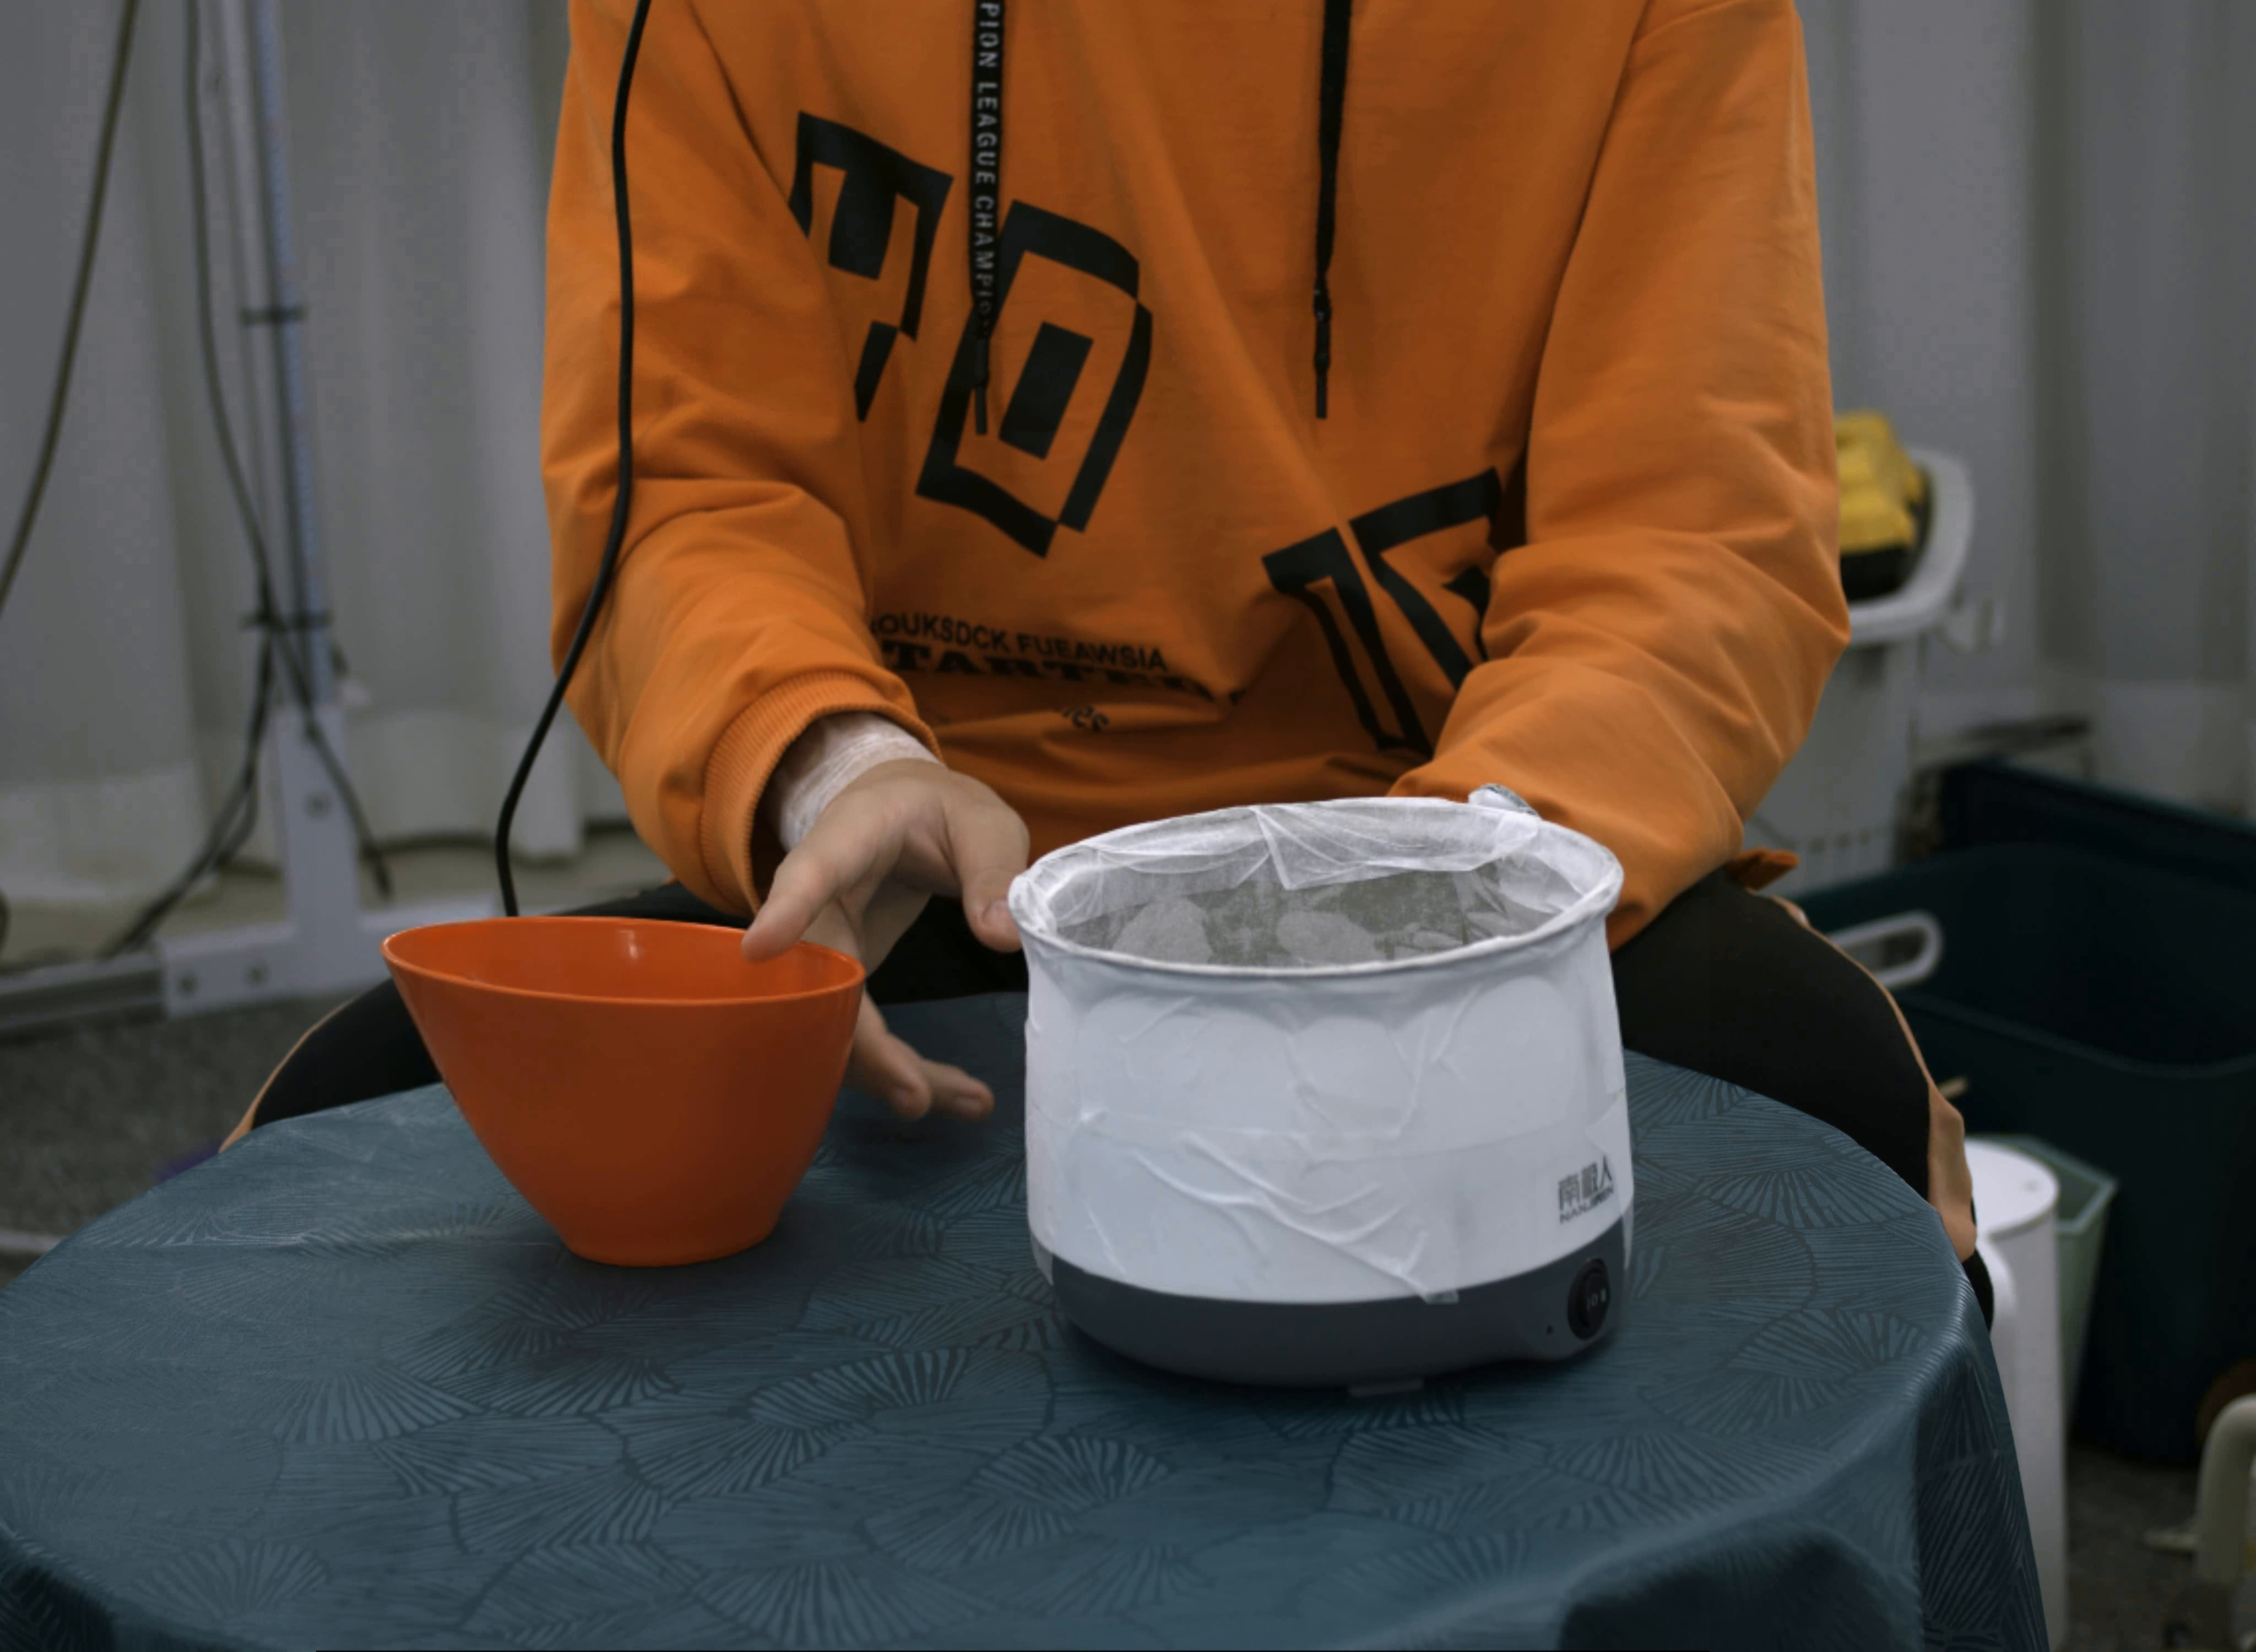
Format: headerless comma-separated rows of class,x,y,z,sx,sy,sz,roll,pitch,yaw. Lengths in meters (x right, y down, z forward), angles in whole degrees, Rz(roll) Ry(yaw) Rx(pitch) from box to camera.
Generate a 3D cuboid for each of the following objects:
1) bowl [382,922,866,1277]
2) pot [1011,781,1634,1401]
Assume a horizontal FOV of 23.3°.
bowl,-0.152,0.082,1.681,0.147,0.104,0.149,-2,14,0
pot,0.072,0.070,1.604,0.179,0.136,0.234,7,18,32
